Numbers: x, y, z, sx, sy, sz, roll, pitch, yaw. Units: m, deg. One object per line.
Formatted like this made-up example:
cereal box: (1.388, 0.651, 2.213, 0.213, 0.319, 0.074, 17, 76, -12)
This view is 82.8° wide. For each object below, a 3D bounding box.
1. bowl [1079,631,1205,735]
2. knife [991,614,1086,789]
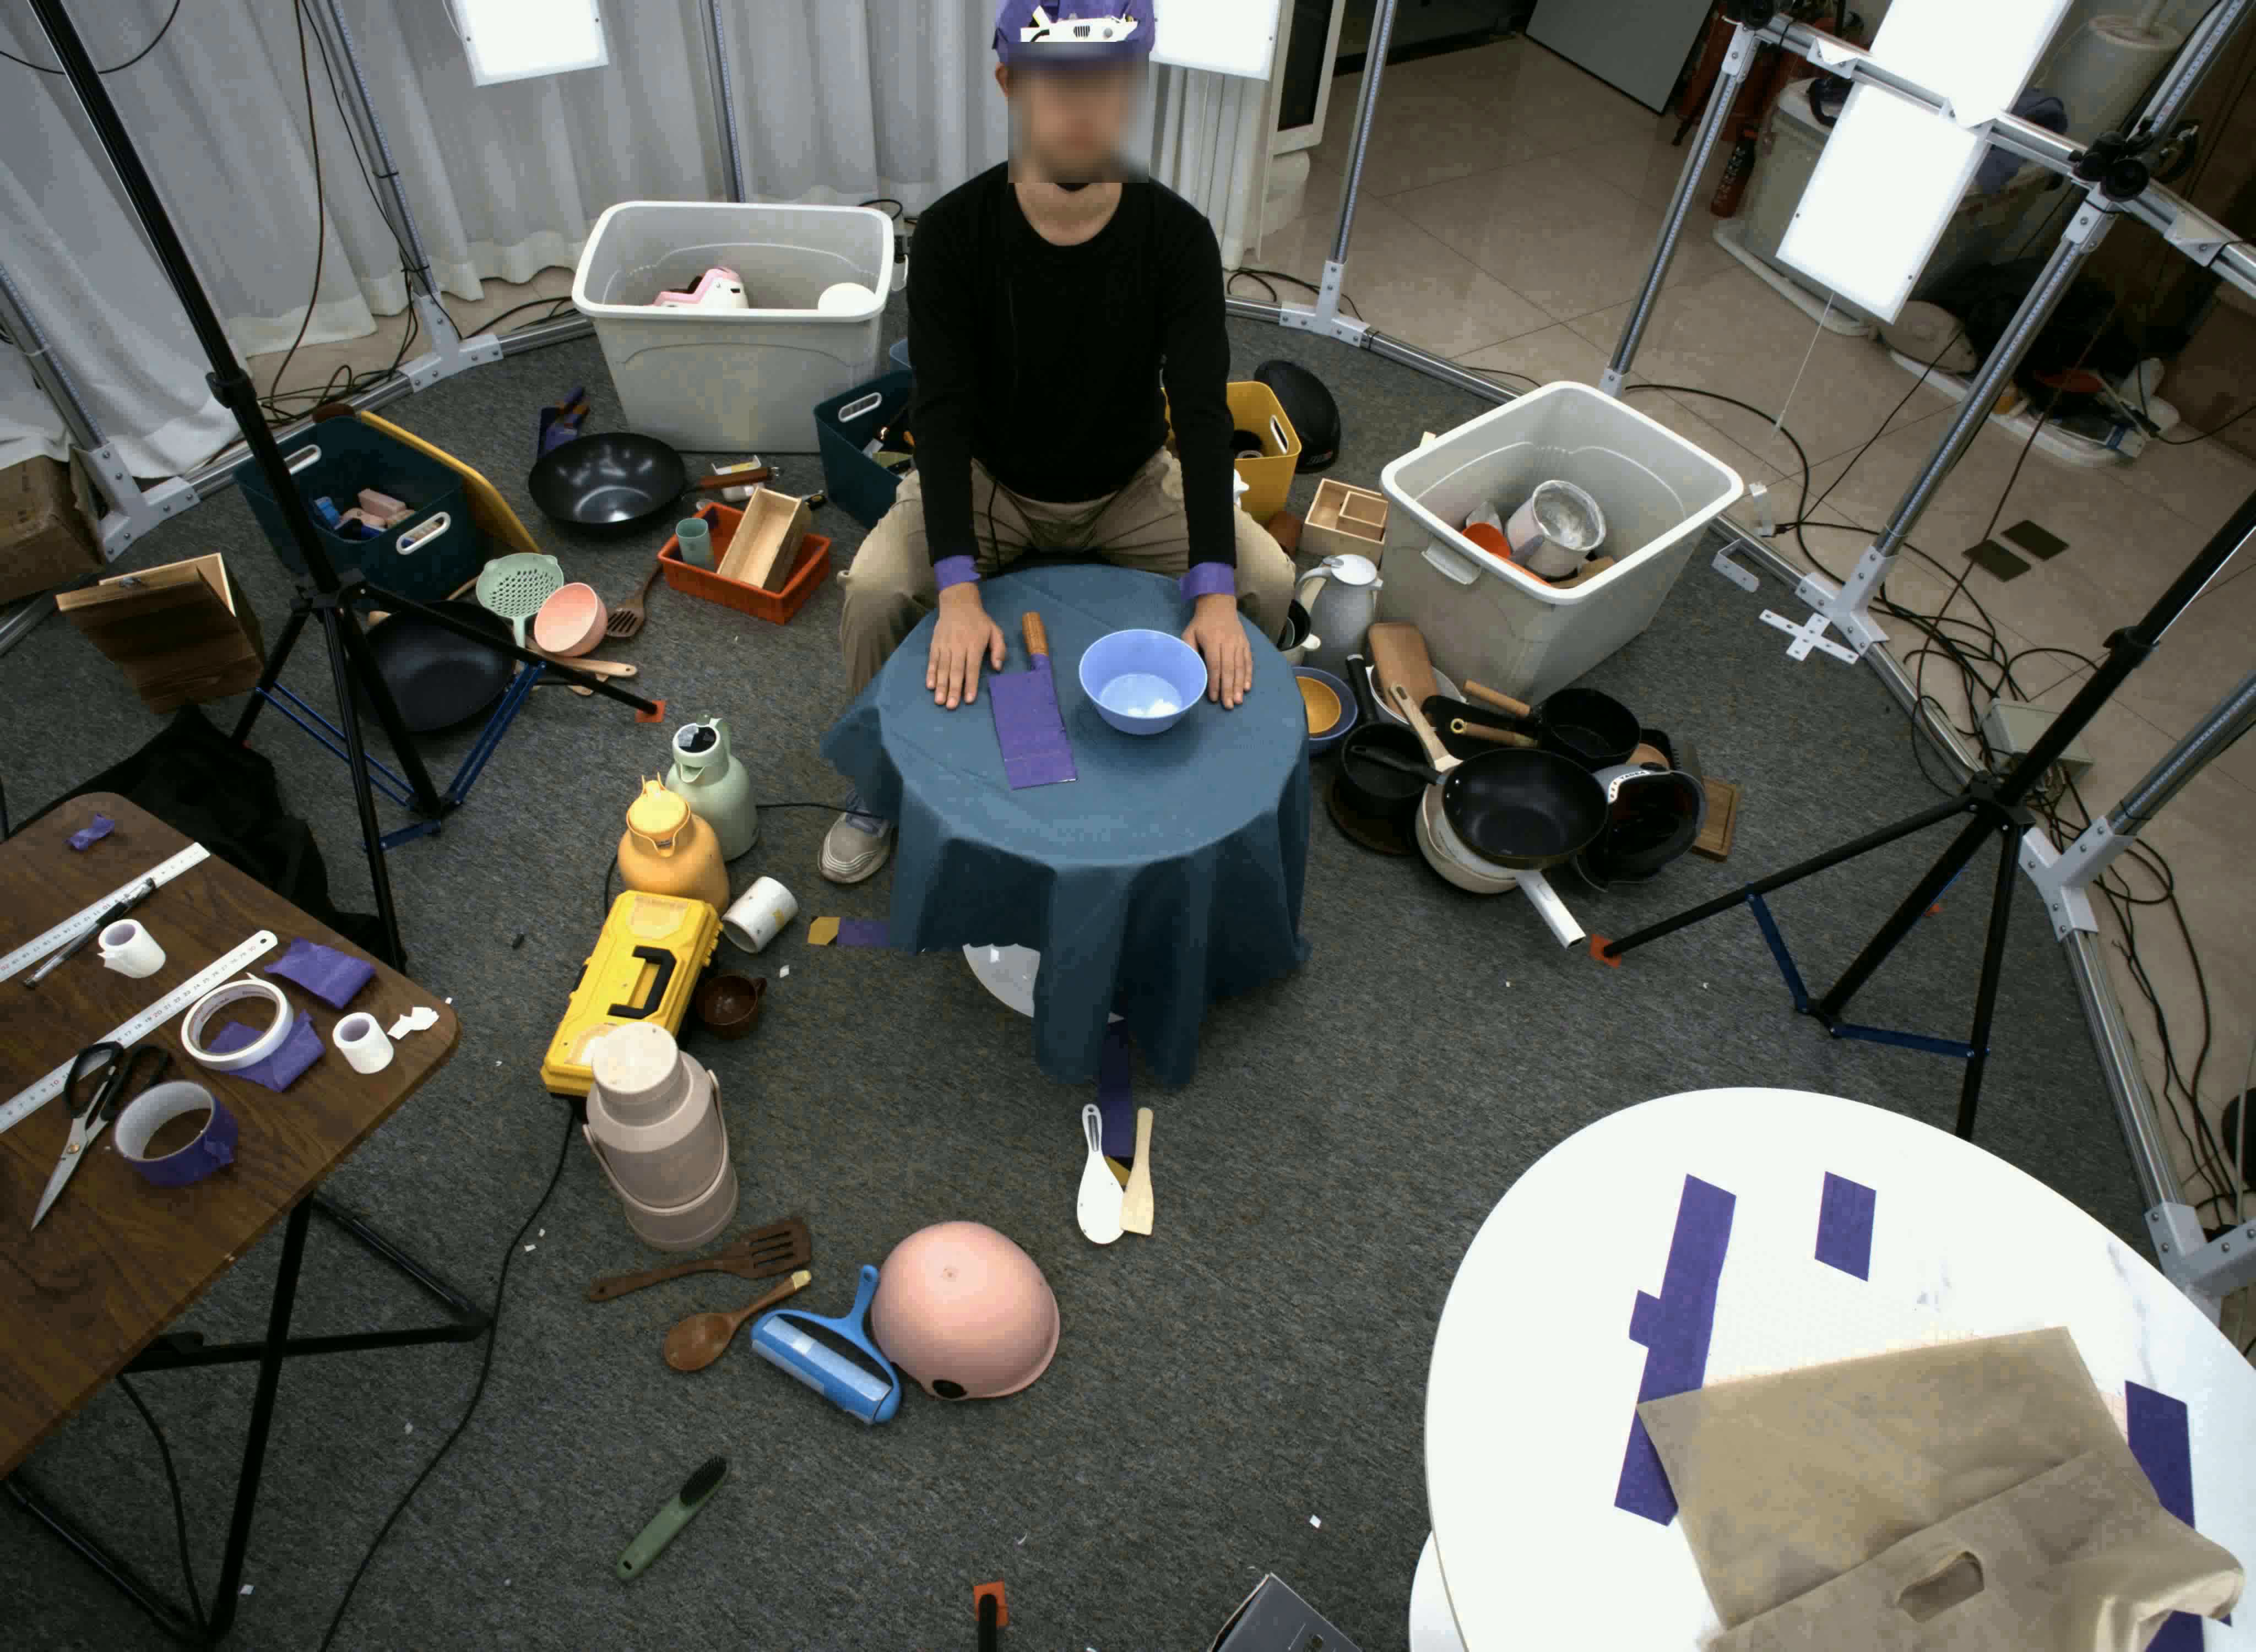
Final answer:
bowl: (0.018, -0.191, 1.790, 0.176, 0.068, 0.180, 2, 48, -2)
knife: (-0.140, -0.180, 1.799, 0.104, 0.031, 0.323, -8, 51, -10)
